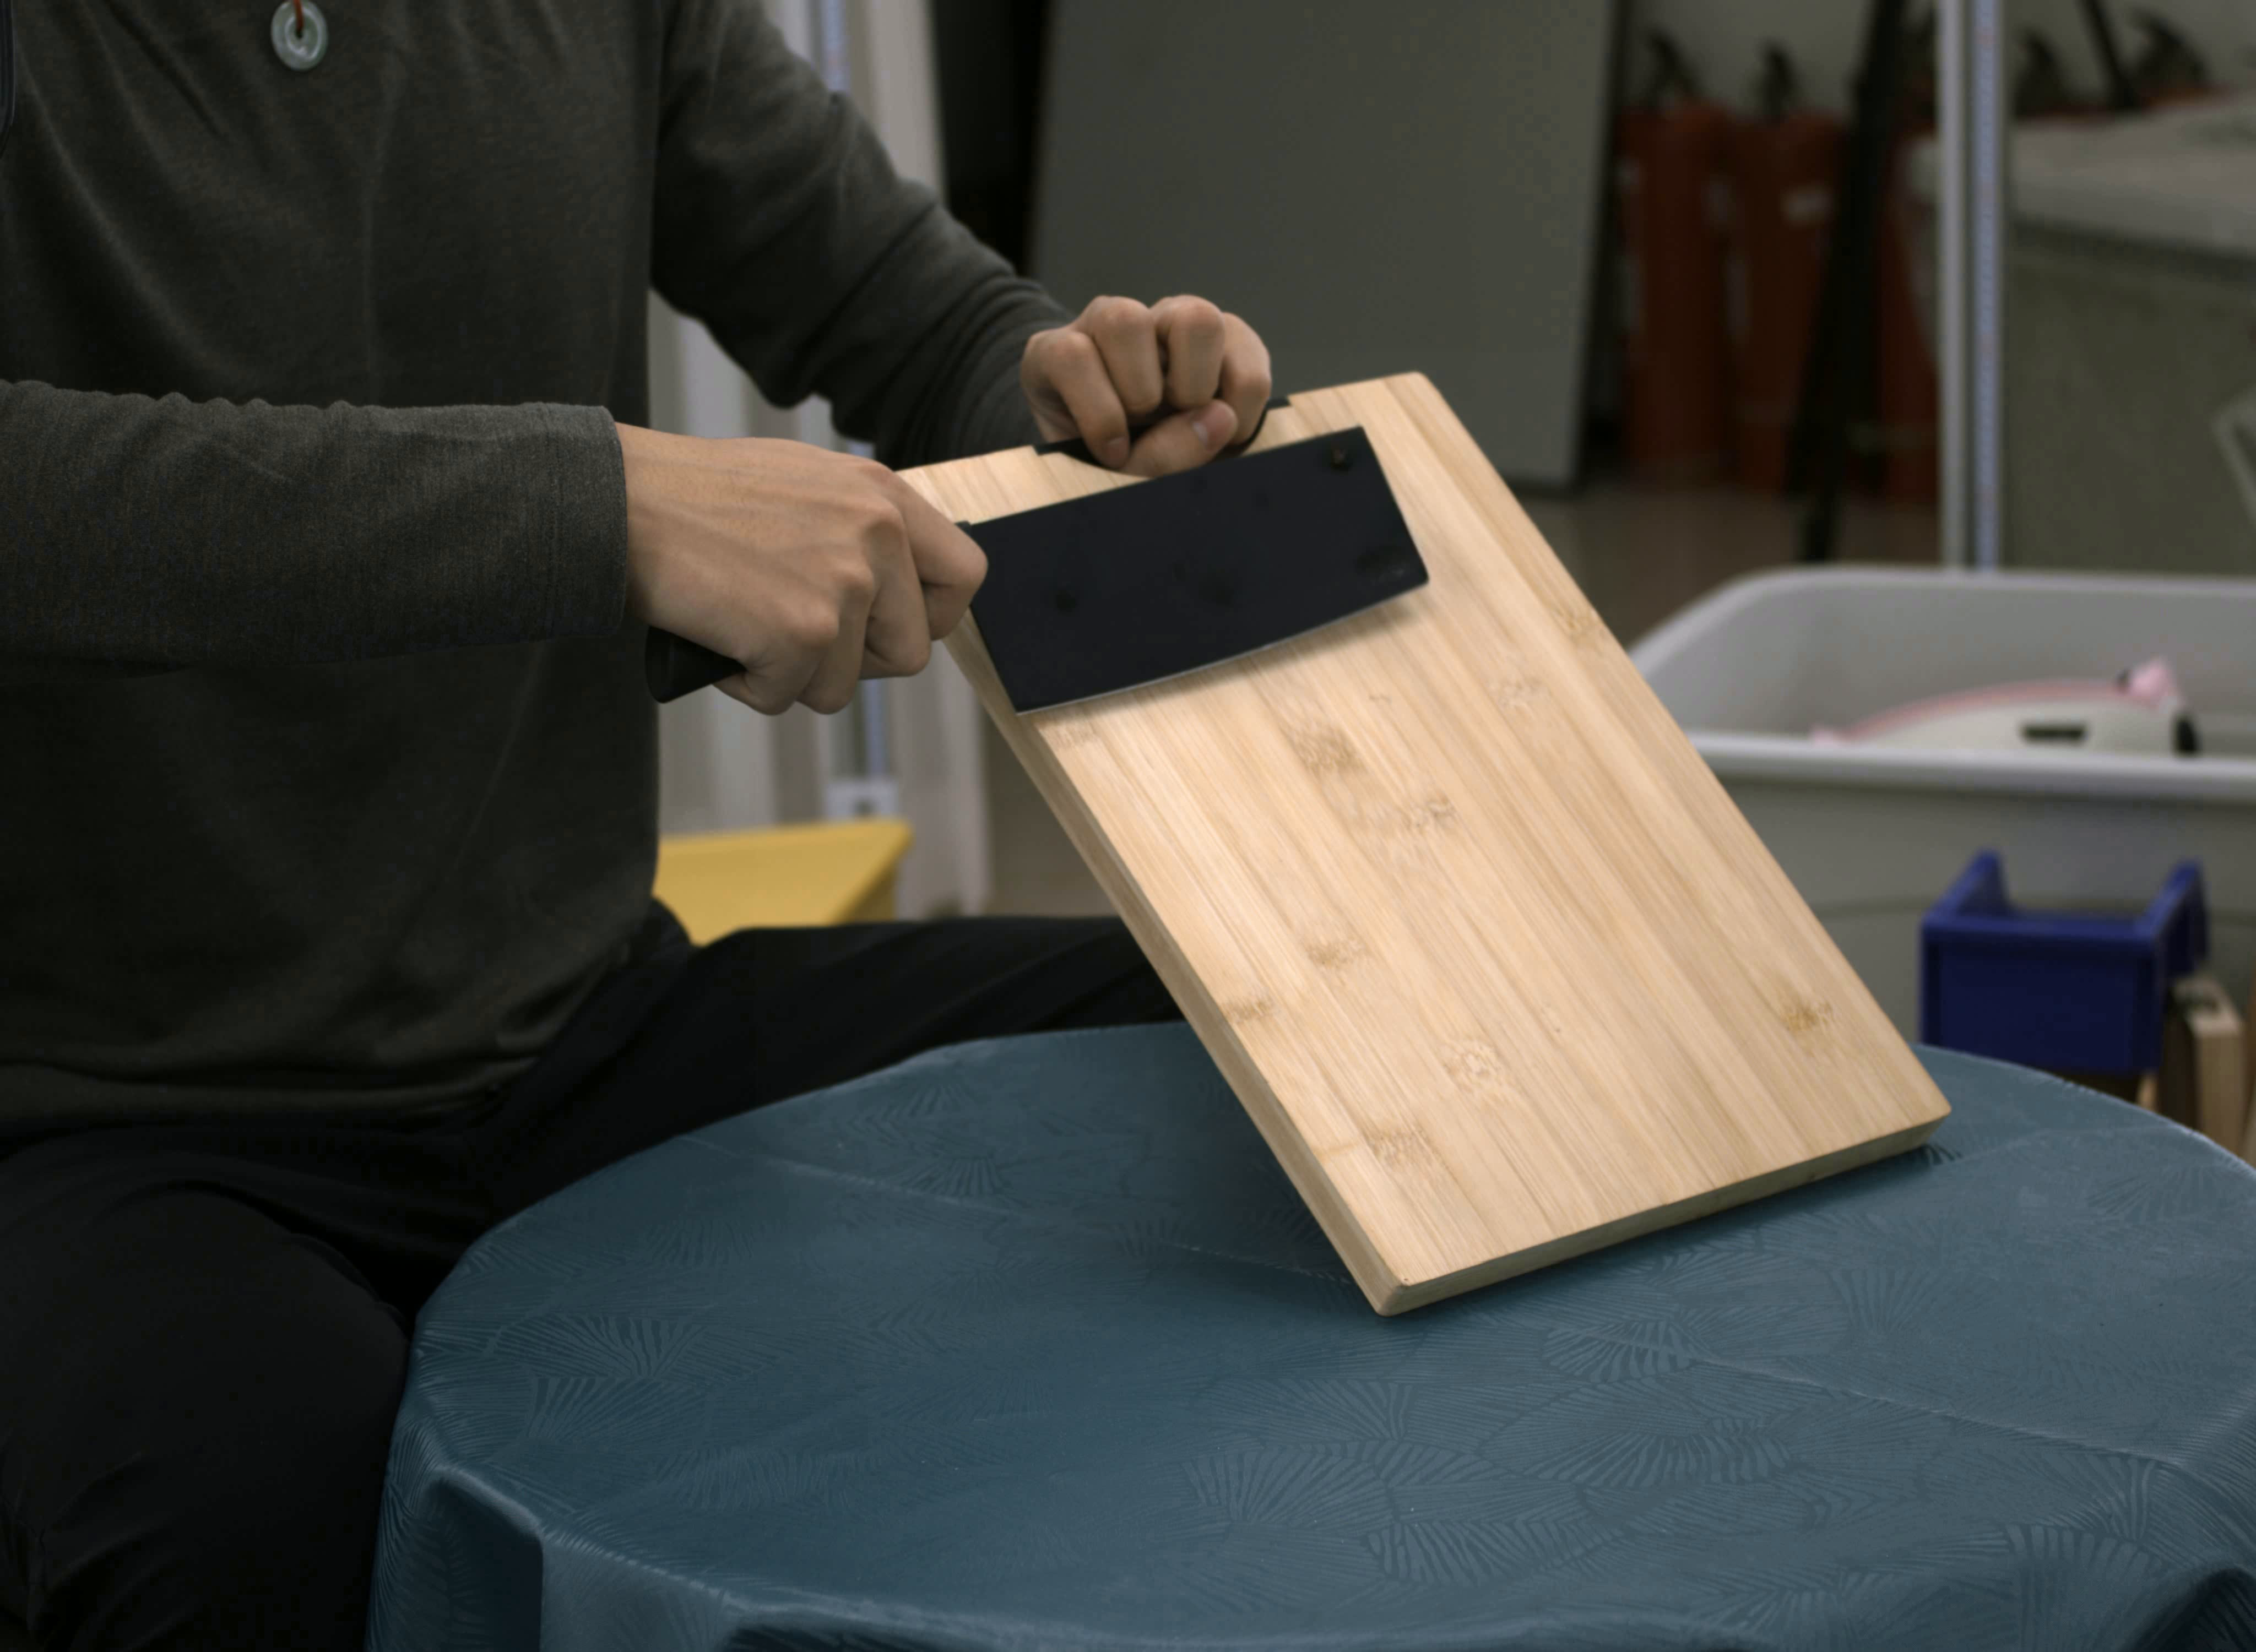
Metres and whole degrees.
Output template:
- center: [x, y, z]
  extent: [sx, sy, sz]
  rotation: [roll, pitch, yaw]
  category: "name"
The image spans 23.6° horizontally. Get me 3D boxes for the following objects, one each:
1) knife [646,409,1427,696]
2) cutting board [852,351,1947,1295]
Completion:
- center: [-0.026, -0.079, 1.741]
  extent: [0.295, 0.082, 0.021]
  rotation: [-12, -15, -33]
  category: "knife"
- center: [0.087, -0.010, 1.775]
  extent: [0.245, 0.024, 0.353]
  rotation: [-13, 57, -35]
  category: "cutting board"
